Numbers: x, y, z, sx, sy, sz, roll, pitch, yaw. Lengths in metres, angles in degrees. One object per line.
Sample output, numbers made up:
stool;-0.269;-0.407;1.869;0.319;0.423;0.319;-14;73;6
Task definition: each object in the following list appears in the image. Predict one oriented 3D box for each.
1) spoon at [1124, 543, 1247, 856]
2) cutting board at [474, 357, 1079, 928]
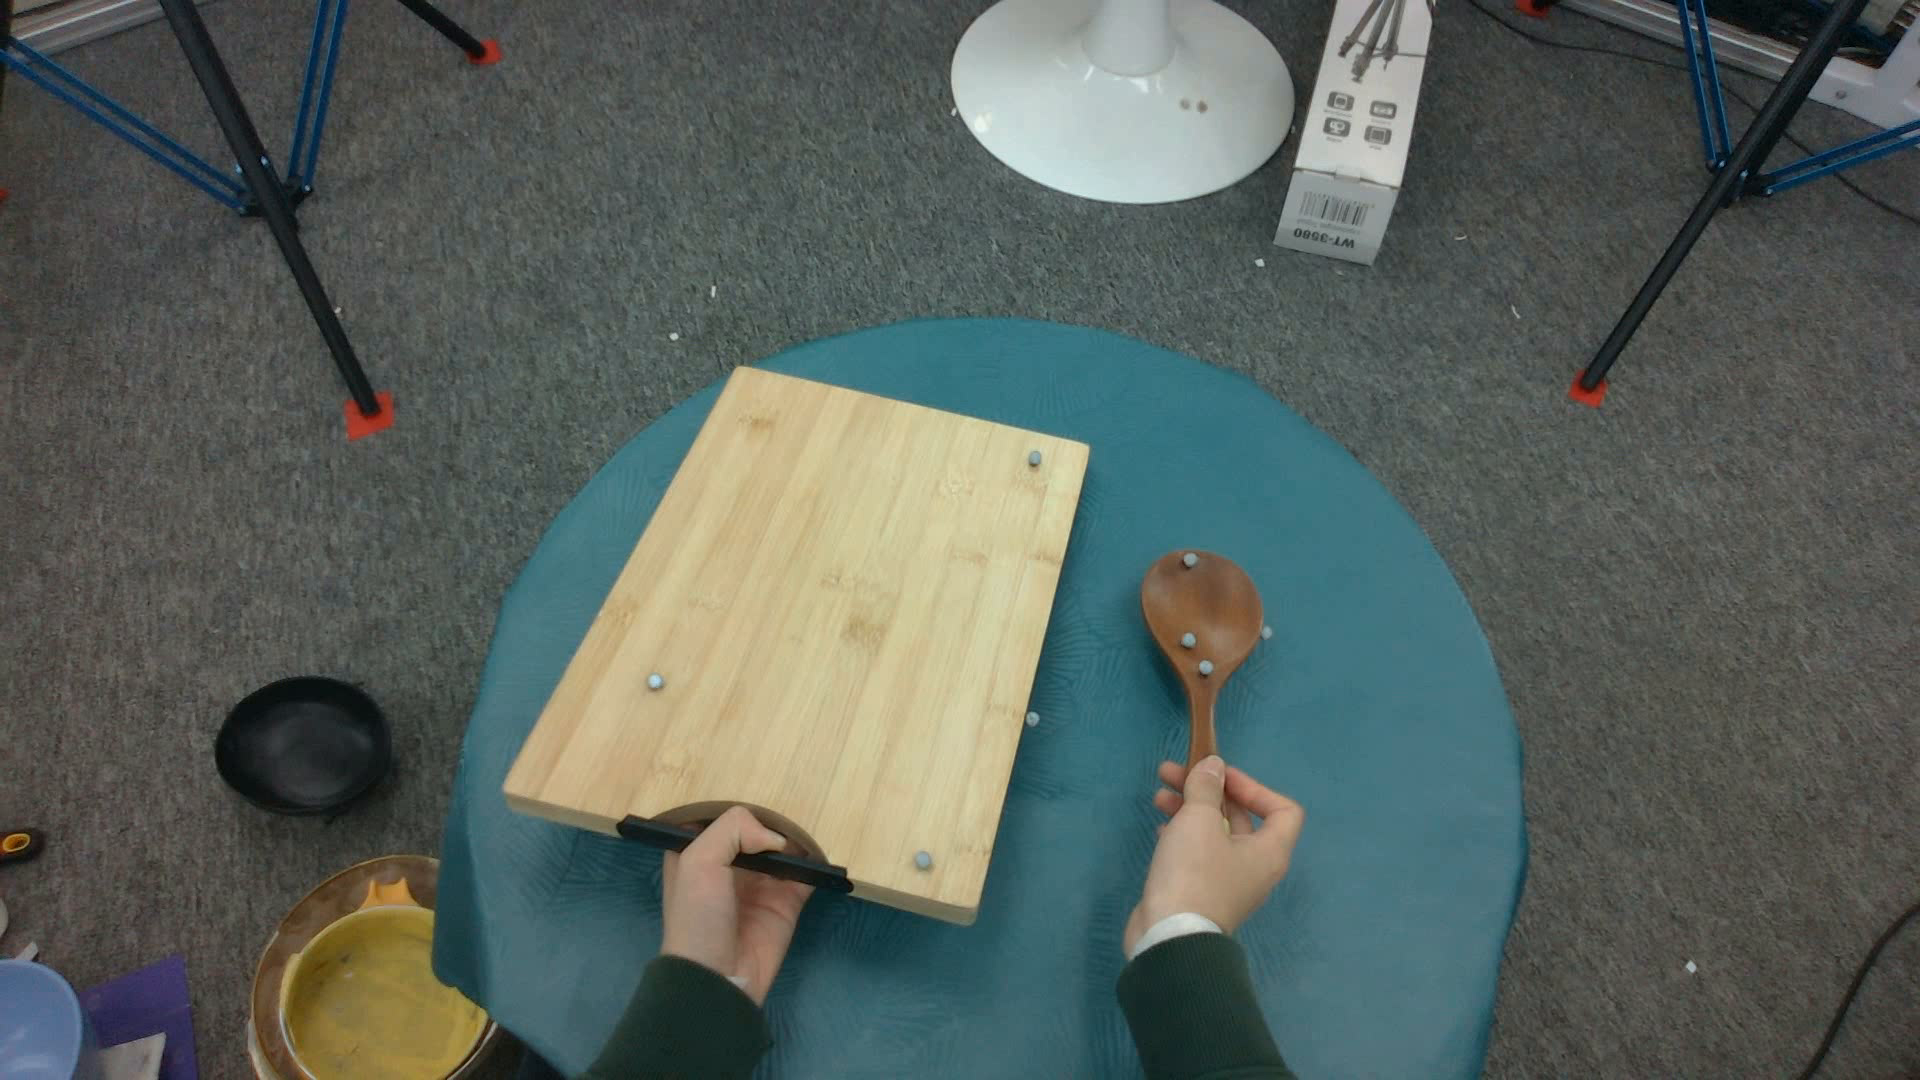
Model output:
spoon;0.126;0.081;0.766;0.075;0.017;0.217;12;44;-4
cutting board;-0.080;0.034;0.780;0.250;0.023;0.350;12;47;4
